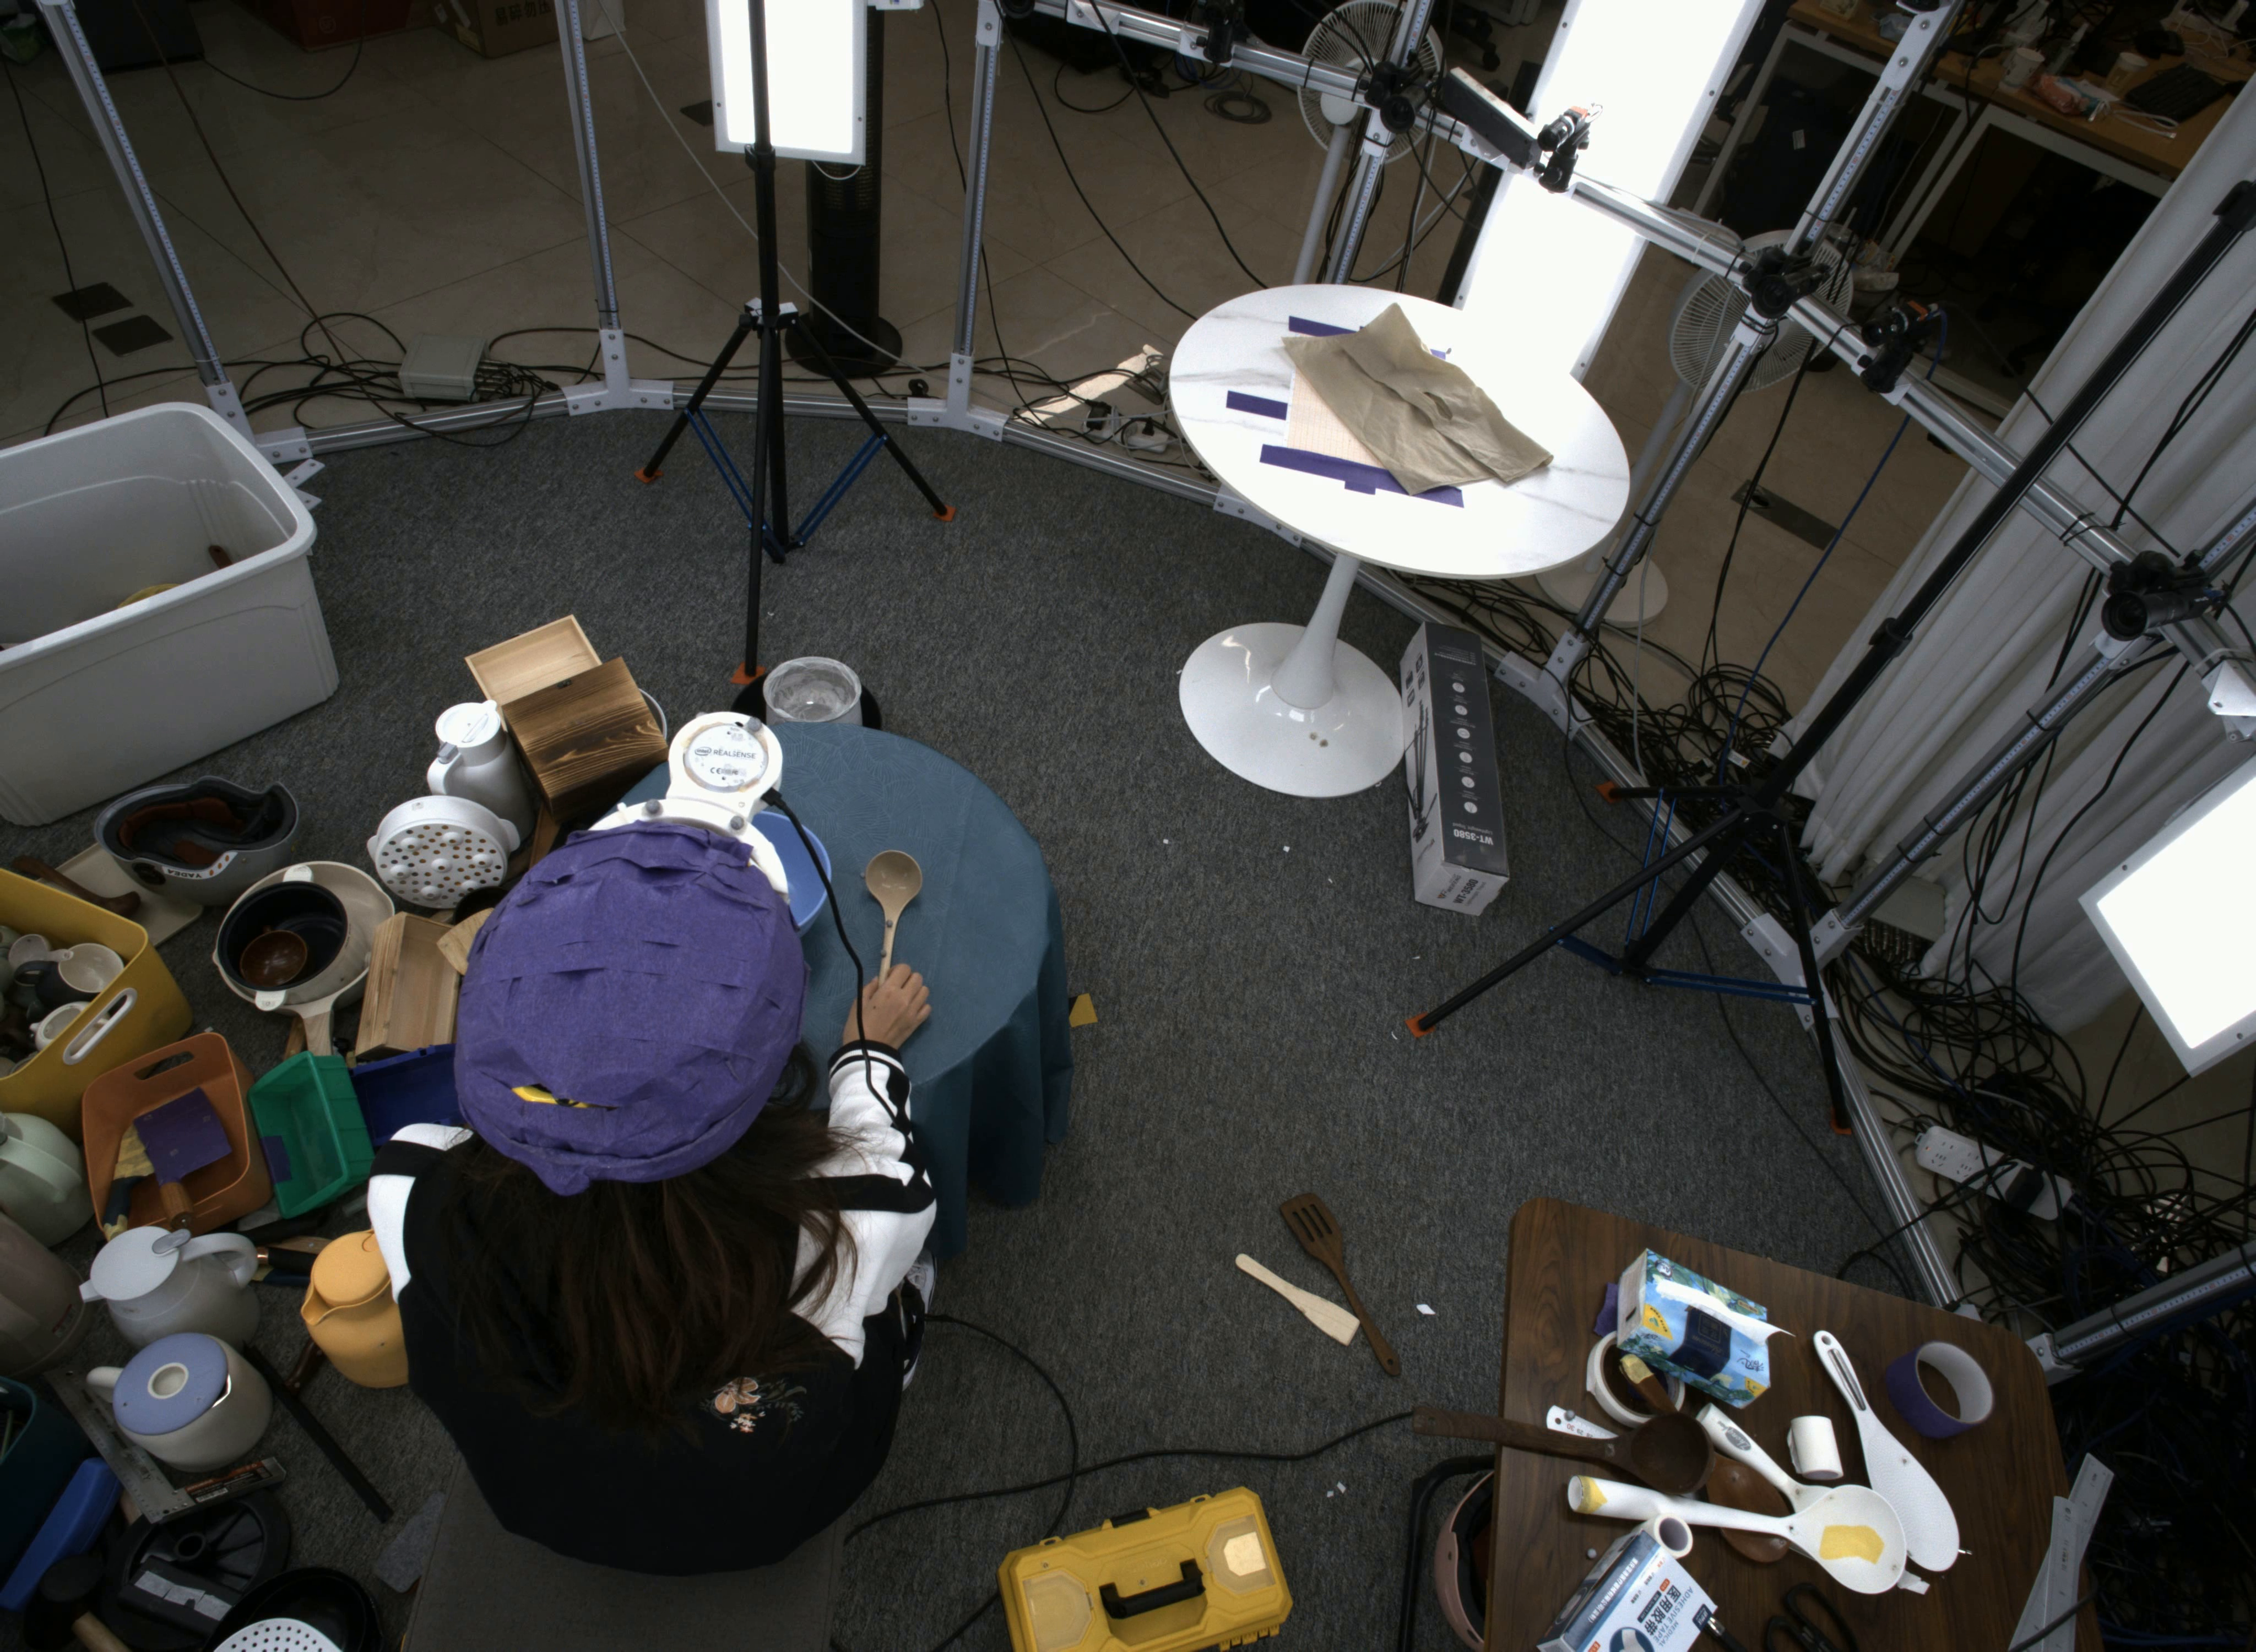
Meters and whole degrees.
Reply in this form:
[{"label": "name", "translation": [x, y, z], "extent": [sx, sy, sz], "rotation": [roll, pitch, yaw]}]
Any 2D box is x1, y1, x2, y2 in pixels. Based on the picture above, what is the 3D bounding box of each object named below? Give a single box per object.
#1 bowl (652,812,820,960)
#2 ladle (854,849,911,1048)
[{"label": "bowl", "translation": [-0.475, 0.087, 1.578], "extent": [0.196, 0.097, 0.193], "rotation": [8, 49, -8]}, {"label": "ladle", "translation": [-0.306, 0.140, 1.595], "extent": [0.072, 0.075, 0.249], "rotation": [0, 52, -7]}]
